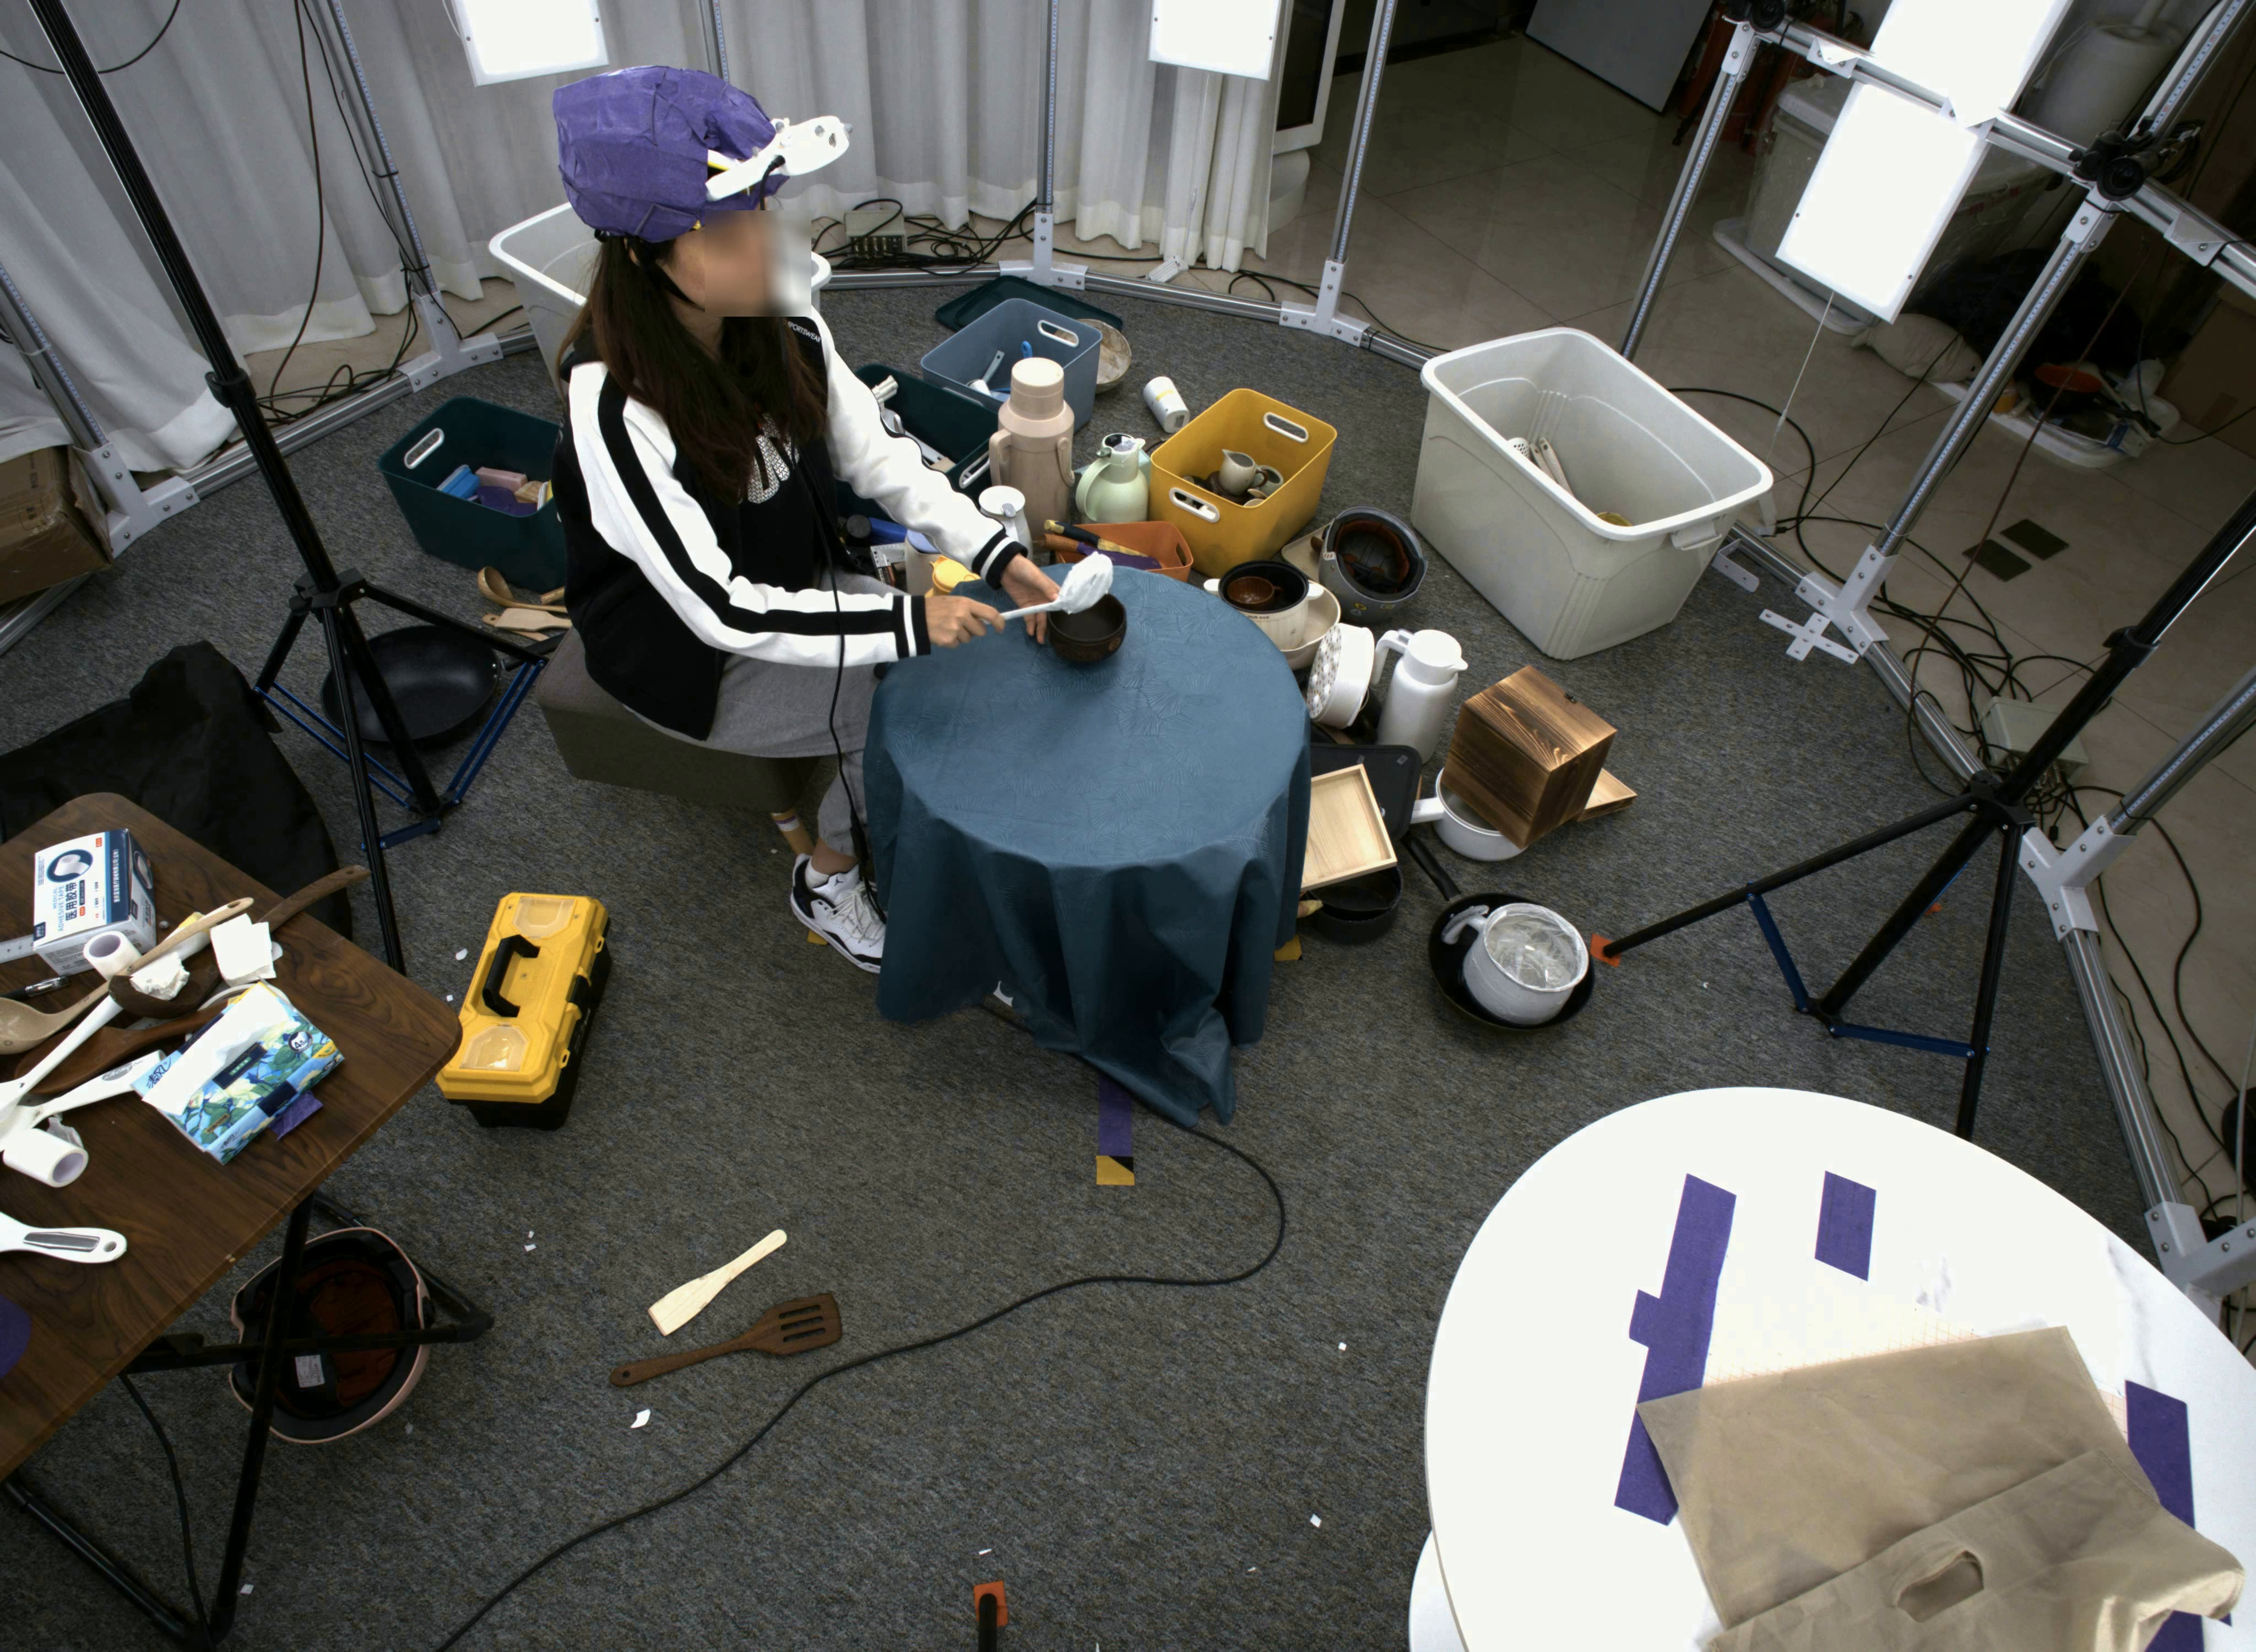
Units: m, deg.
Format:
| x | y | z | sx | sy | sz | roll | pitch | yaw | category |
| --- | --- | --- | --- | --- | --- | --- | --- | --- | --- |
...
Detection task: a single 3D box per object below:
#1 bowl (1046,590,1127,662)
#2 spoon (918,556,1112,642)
| x | y | z | sx | sy | sz | roll | pitch | yaw | category |
| --- | --- | --- | --- | --- | --- | --- | --- | --- | --- |
| -0.061 | -0.284 | 1.865 | 0.118 | 0.068 | 0.121 | 2 | 49 | -2 | bowl |
| -0.154 | -0.302 | 1.761 | 0.277 | 0.098 | 0.061 | -11 | 57 | 8 | spoon |
